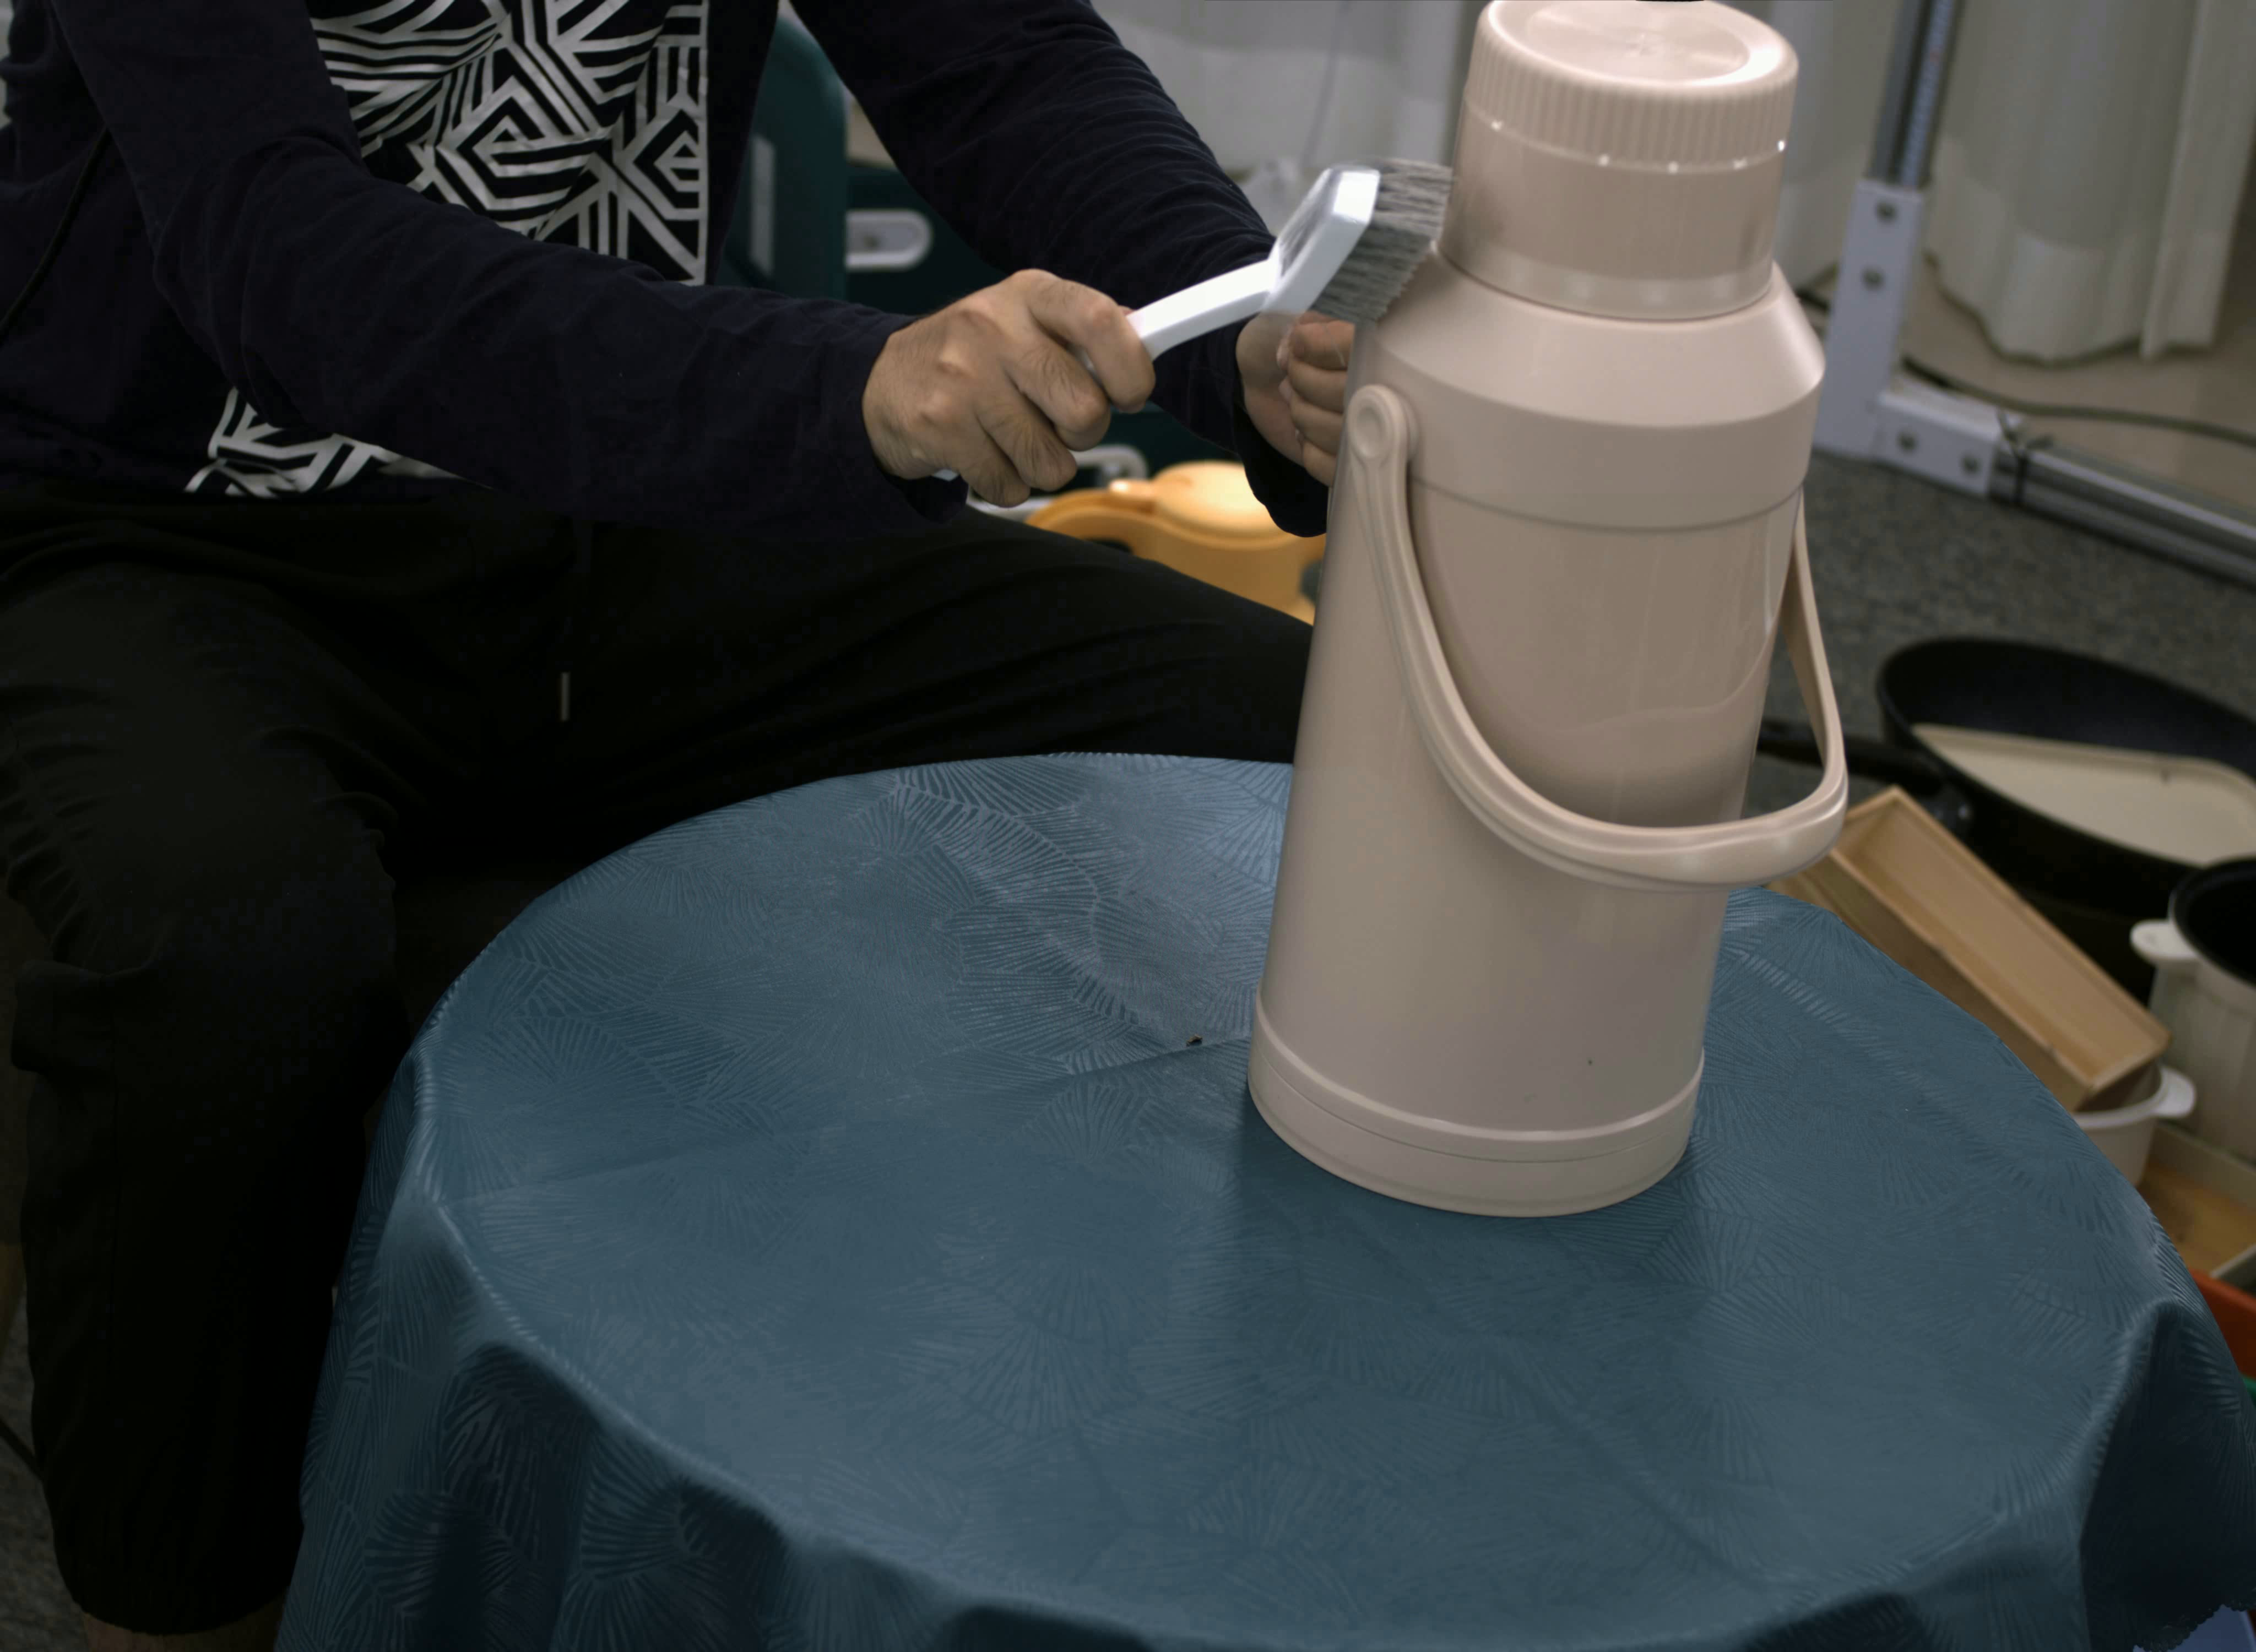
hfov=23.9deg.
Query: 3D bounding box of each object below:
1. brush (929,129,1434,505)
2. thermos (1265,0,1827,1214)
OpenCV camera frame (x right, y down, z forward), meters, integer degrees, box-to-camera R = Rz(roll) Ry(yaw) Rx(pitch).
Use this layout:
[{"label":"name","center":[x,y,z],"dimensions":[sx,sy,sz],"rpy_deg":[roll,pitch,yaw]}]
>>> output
[{"label":"brush","center":[0.019,-0.159,1.774],"dimensions":[0.050,0.244,0.034],"rpy_deg":[23,53,-29]},{"label":"thermos","center":[0.137,-0.084,1.809],"dimensions":[0.174,0.405,0.209],"rpy_deg":[-13,33,-32]}]
